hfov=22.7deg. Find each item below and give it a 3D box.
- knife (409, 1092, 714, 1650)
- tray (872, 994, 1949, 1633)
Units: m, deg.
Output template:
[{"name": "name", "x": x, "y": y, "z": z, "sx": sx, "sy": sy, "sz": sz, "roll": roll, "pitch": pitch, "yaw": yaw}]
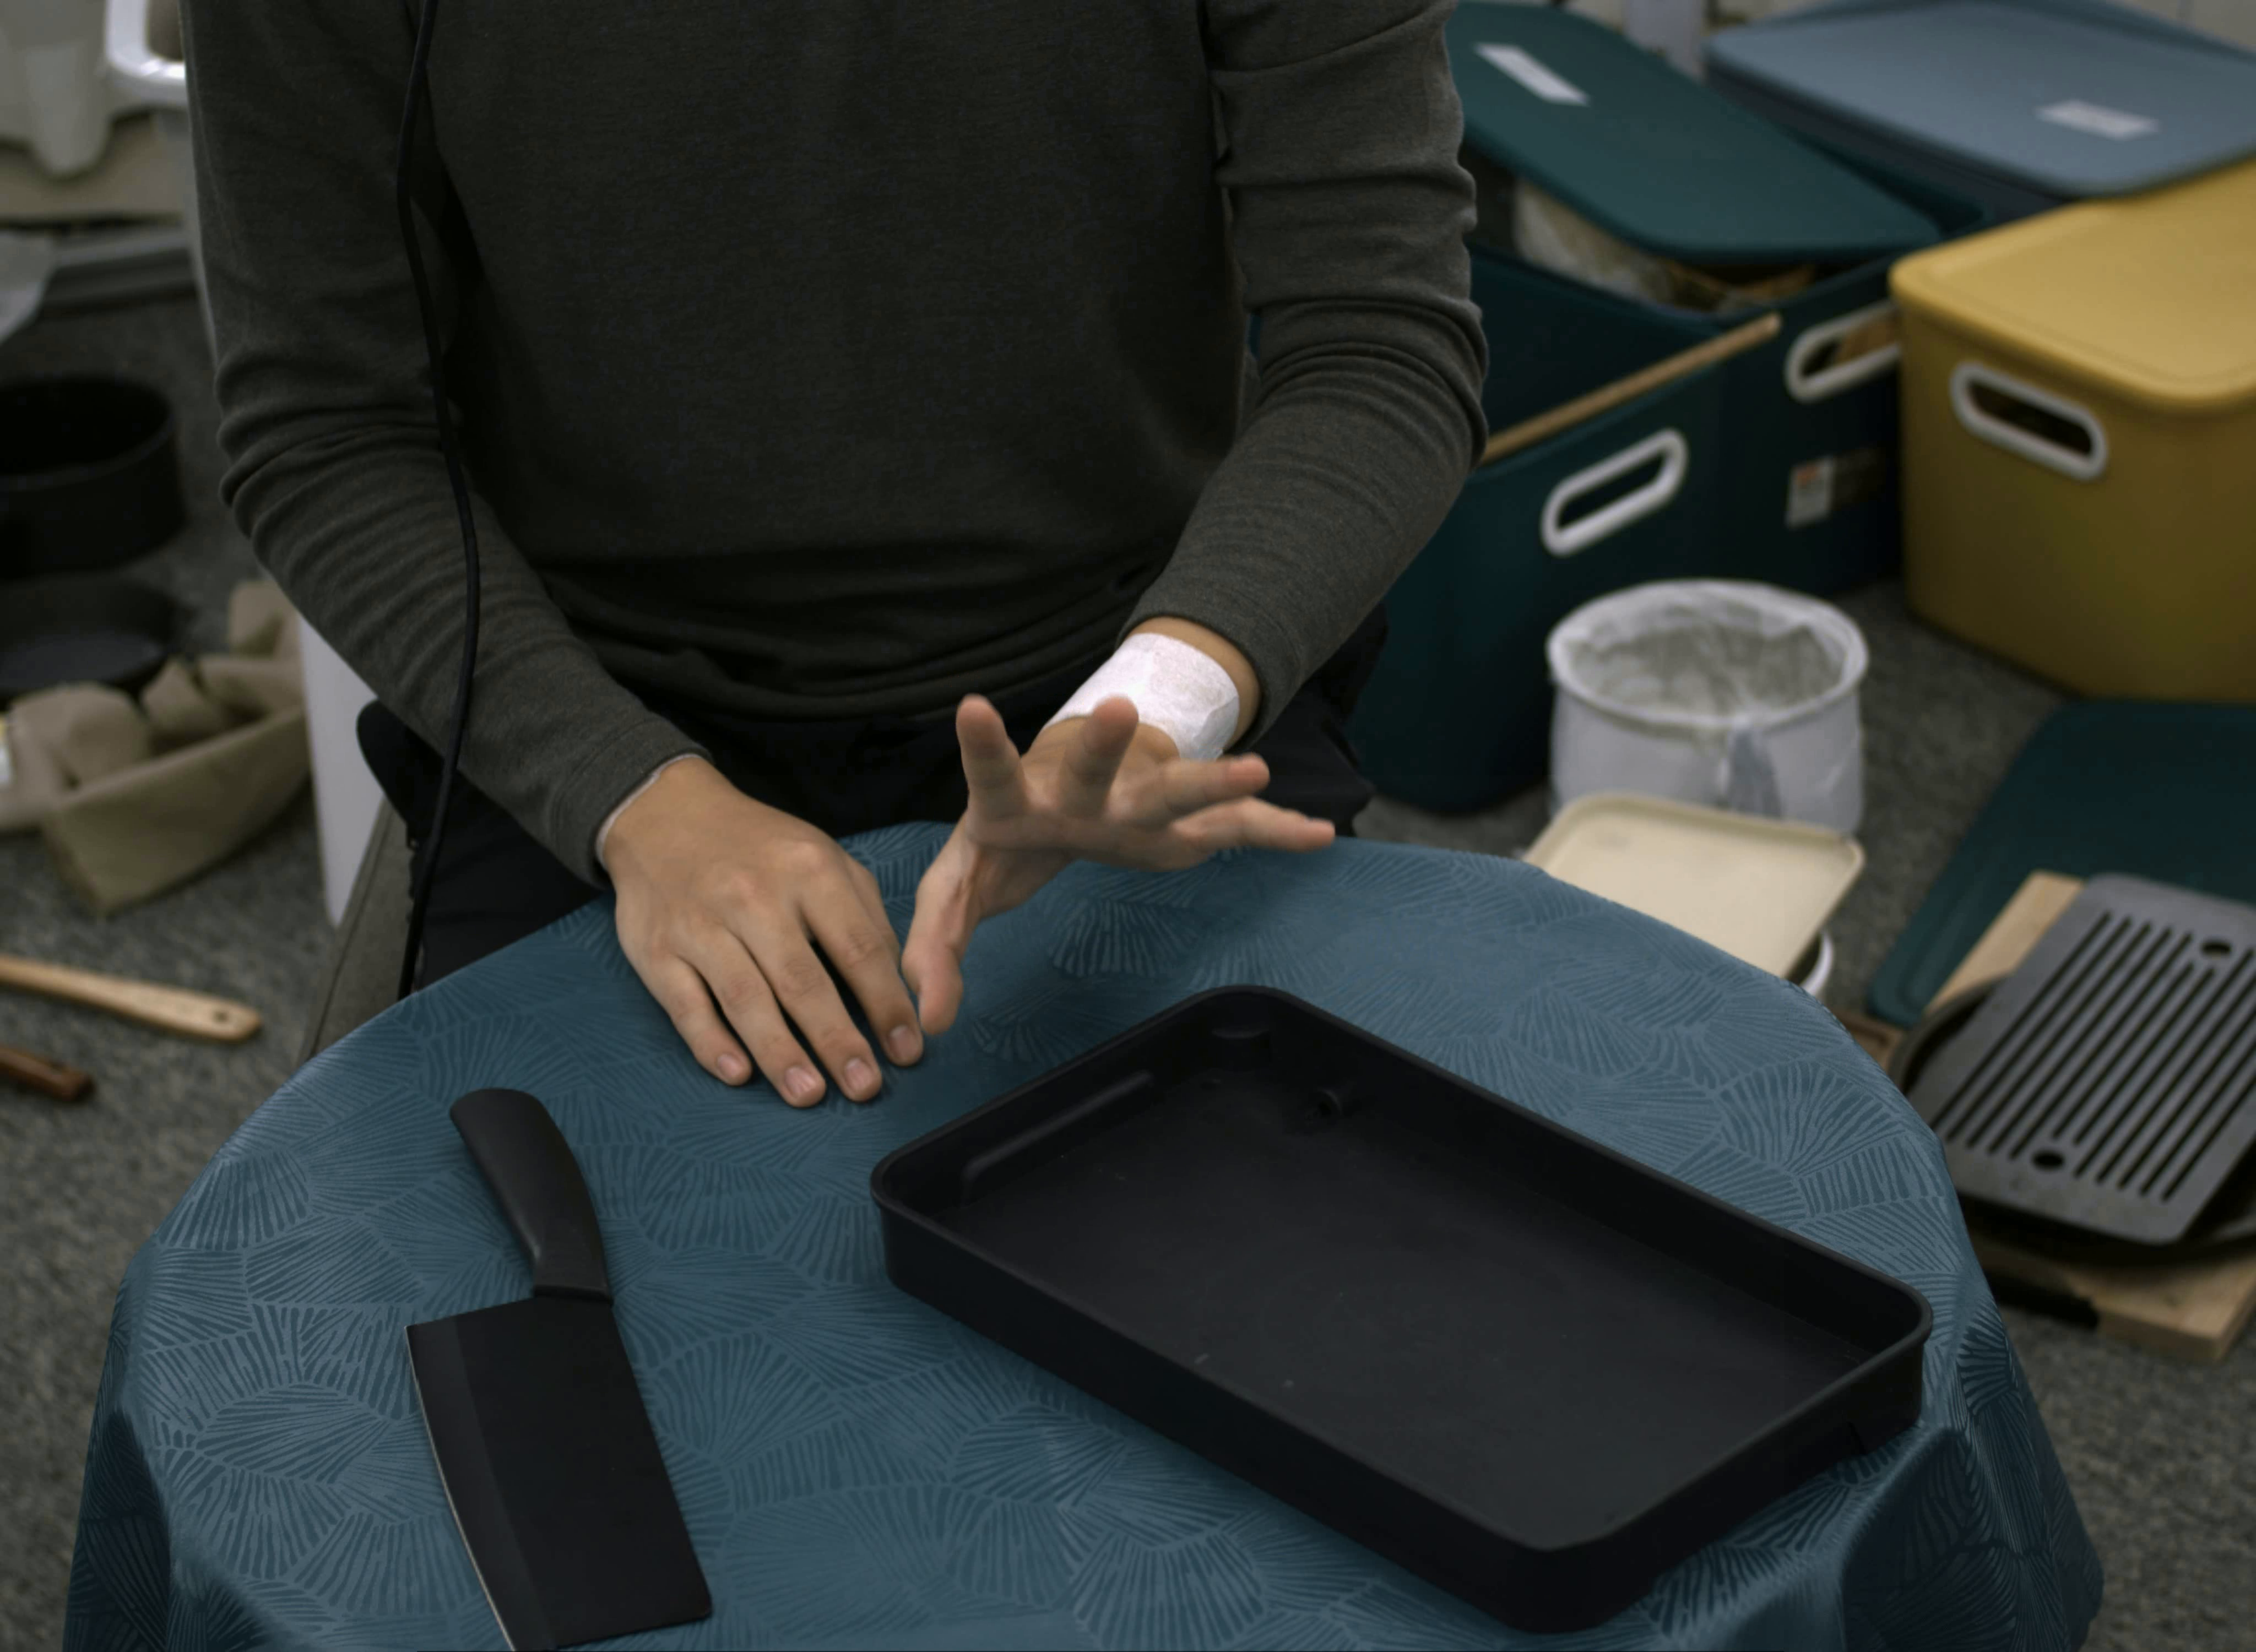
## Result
[{"name": "knife", "x": -0.188, "y": 0.168, "z": 1.775, "sx": 0.081, "sy": 0.020, "sz": 0.306, "roll": -8, "pitch": 29, "yaw": -8}, {"name": "tray", "x": 0.084, "y": 0.147, "z": 1.767, "sx": 0.317, "sy": 0.036, "sz": 0.186, "roll": 22, "pitch": 36, "yaw": 40}]
